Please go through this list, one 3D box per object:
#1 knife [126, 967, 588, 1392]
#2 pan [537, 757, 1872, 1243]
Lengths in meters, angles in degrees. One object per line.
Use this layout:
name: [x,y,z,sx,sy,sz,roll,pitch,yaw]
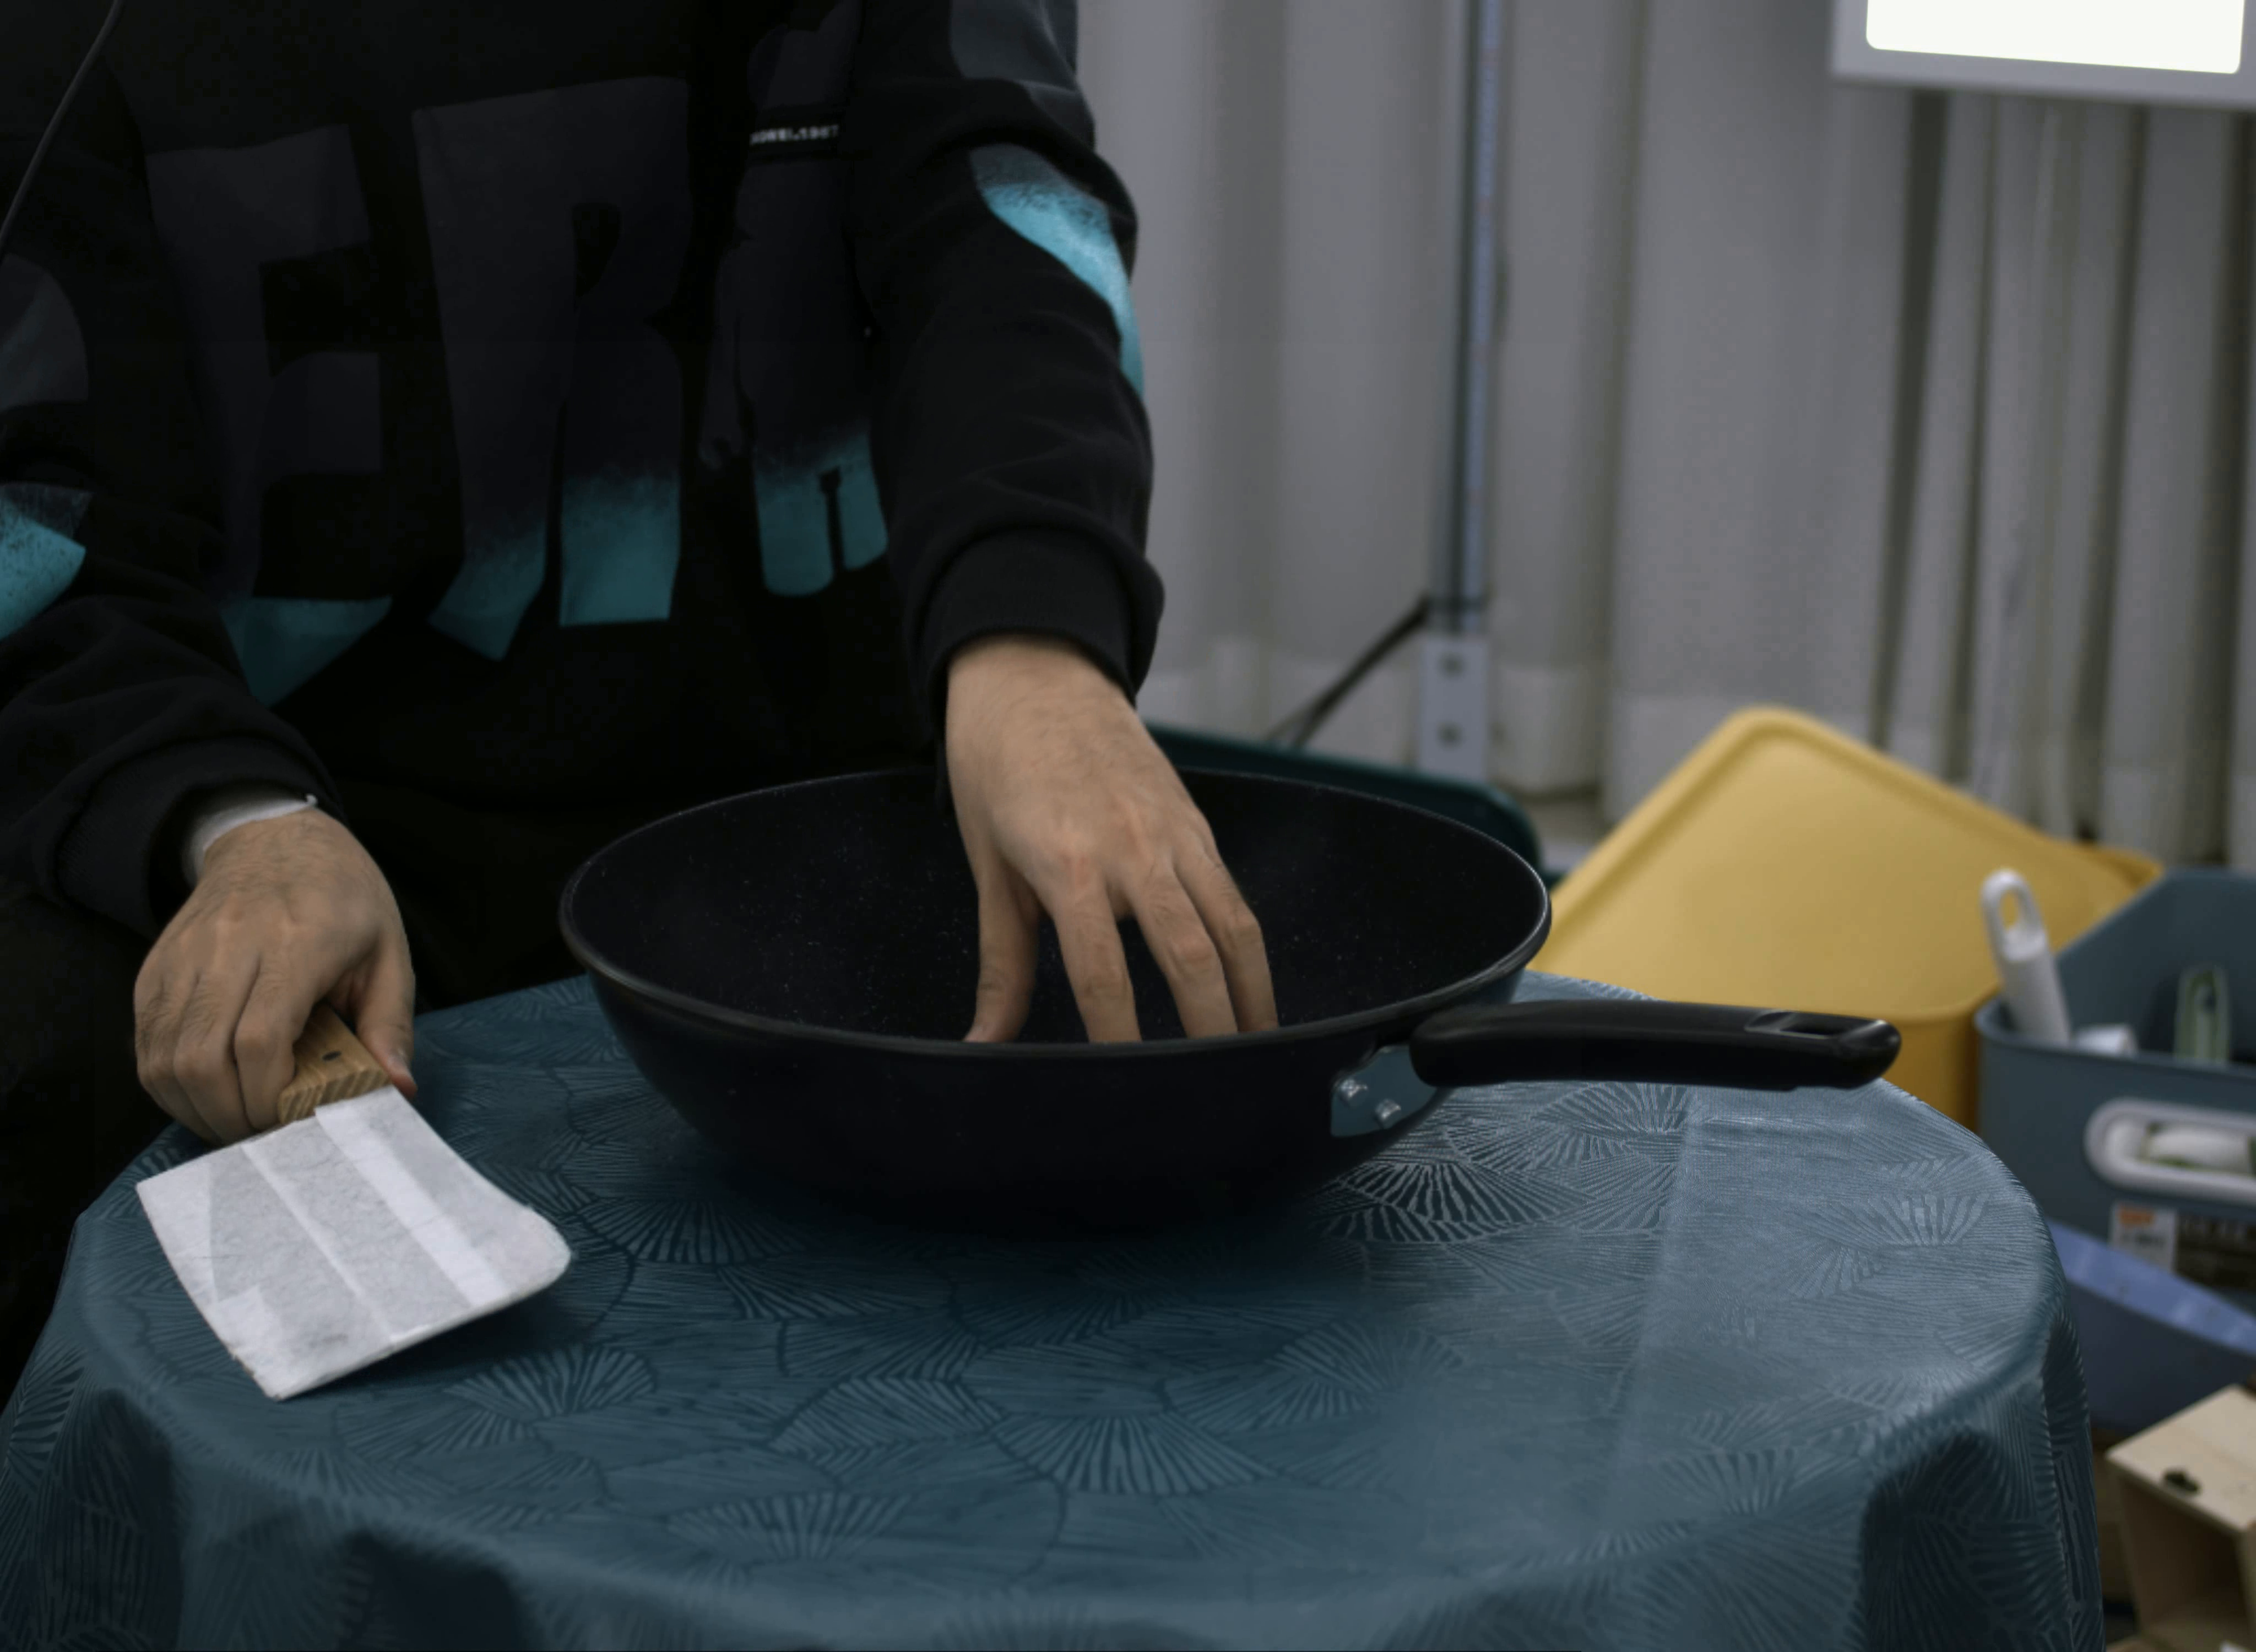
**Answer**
knife: [-0.246,0.101,1.599,0.114,0.022,0.312,-18,22,-14]
pan: [0.030,0.066,1.592,0.470,0.112,0.311,15,23,42]
